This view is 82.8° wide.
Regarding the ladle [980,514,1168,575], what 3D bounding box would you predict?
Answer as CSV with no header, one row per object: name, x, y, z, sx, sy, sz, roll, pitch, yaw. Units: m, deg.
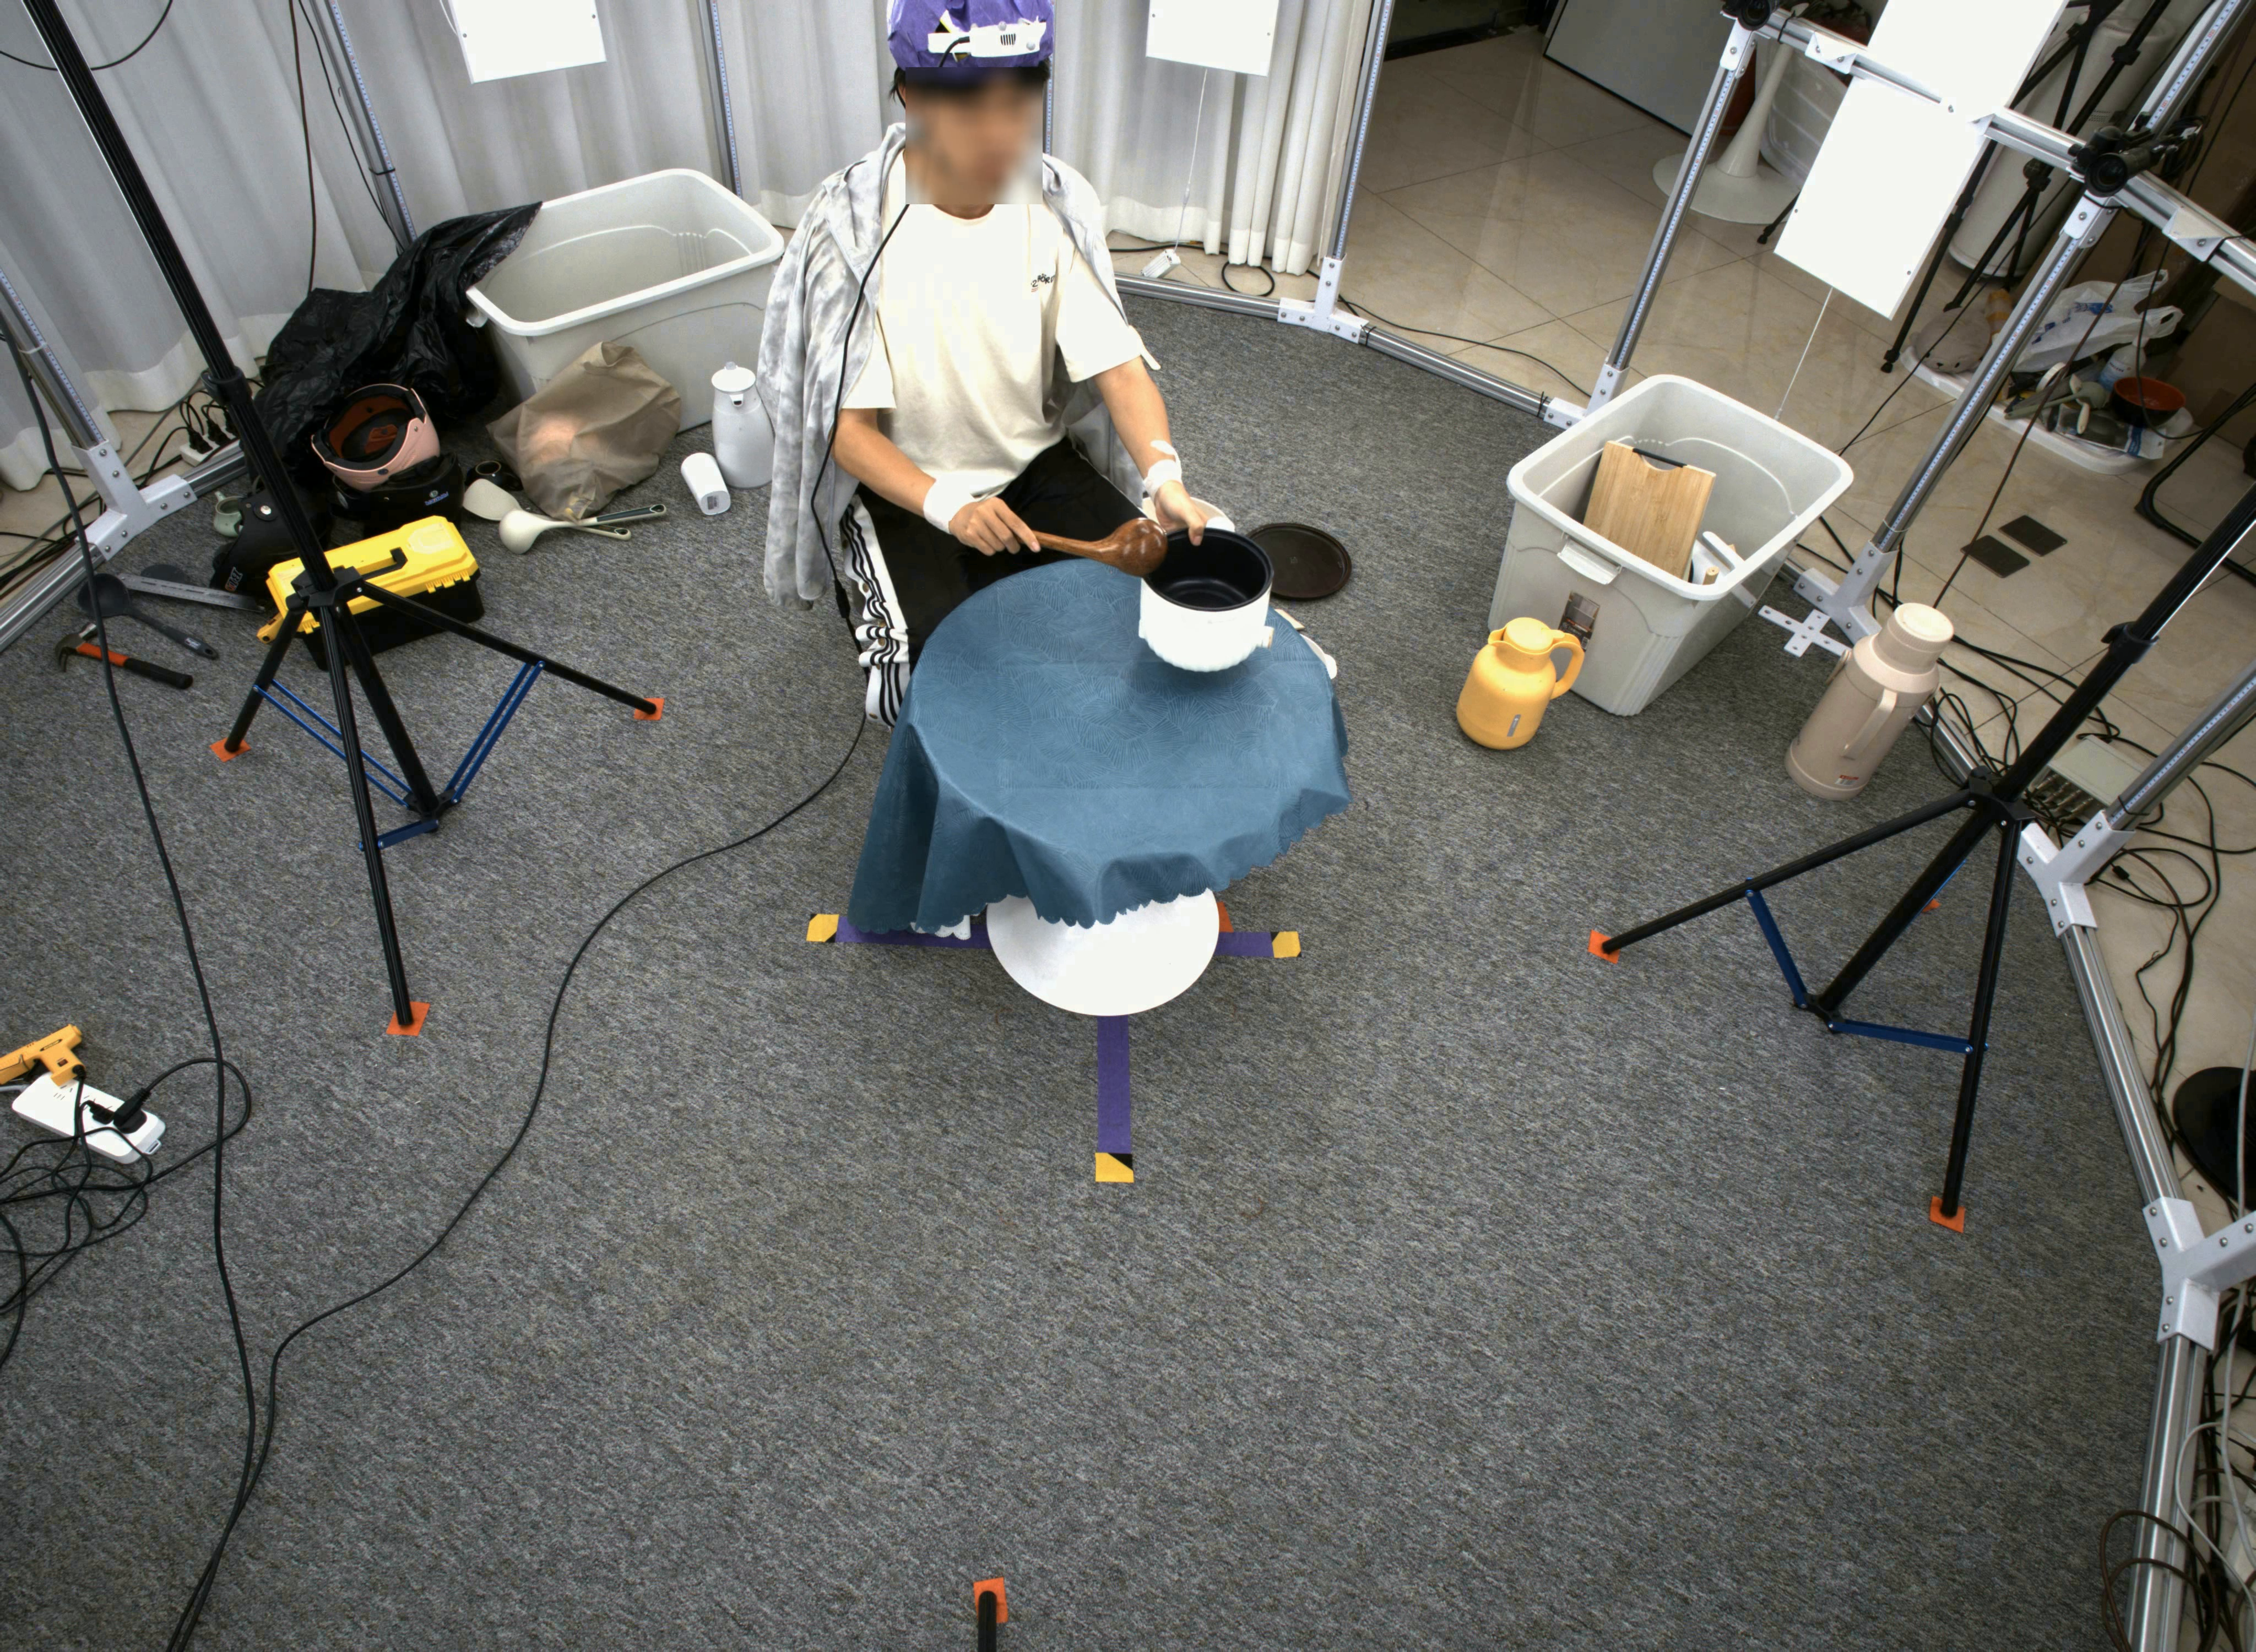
ladle,-0.073,-0.397,1.769,0.276,0.080,0.077,15,35,31

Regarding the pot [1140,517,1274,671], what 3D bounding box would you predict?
pot,0.112,-0.313,1.805,0.191,0.139,0.246,8,49,10
